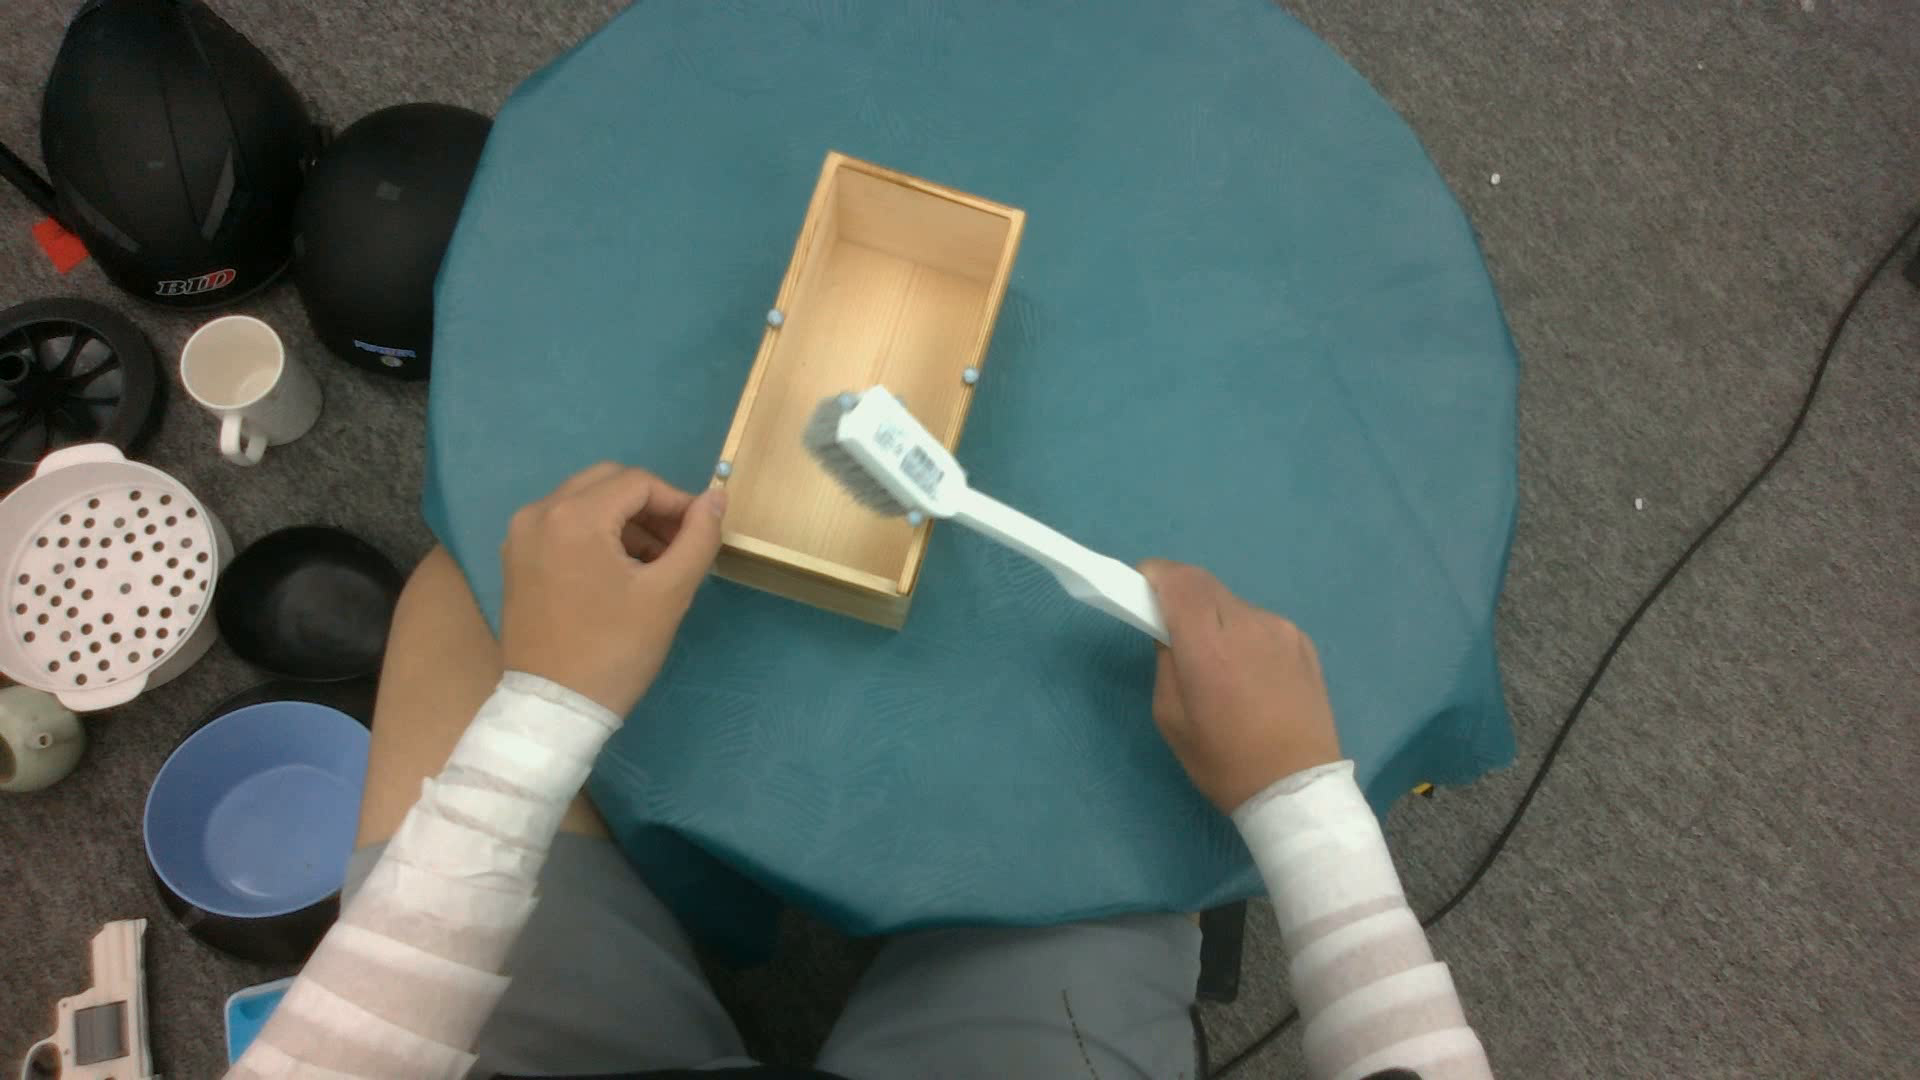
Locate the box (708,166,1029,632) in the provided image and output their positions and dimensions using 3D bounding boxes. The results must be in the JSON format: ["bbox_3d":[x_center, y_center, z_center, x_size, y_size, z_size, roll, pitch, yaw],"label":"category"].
[{"bbox_3d":[-0.045,-0.073,0.719,0.107,0.080,0.212,16,74,-1],"label":"box"}]

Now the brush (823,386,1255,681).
[{"bbox_3d":[0.040,0.006,0.667,0.243,0.050,0.034,34,55,-17],"label":"brush"}]
